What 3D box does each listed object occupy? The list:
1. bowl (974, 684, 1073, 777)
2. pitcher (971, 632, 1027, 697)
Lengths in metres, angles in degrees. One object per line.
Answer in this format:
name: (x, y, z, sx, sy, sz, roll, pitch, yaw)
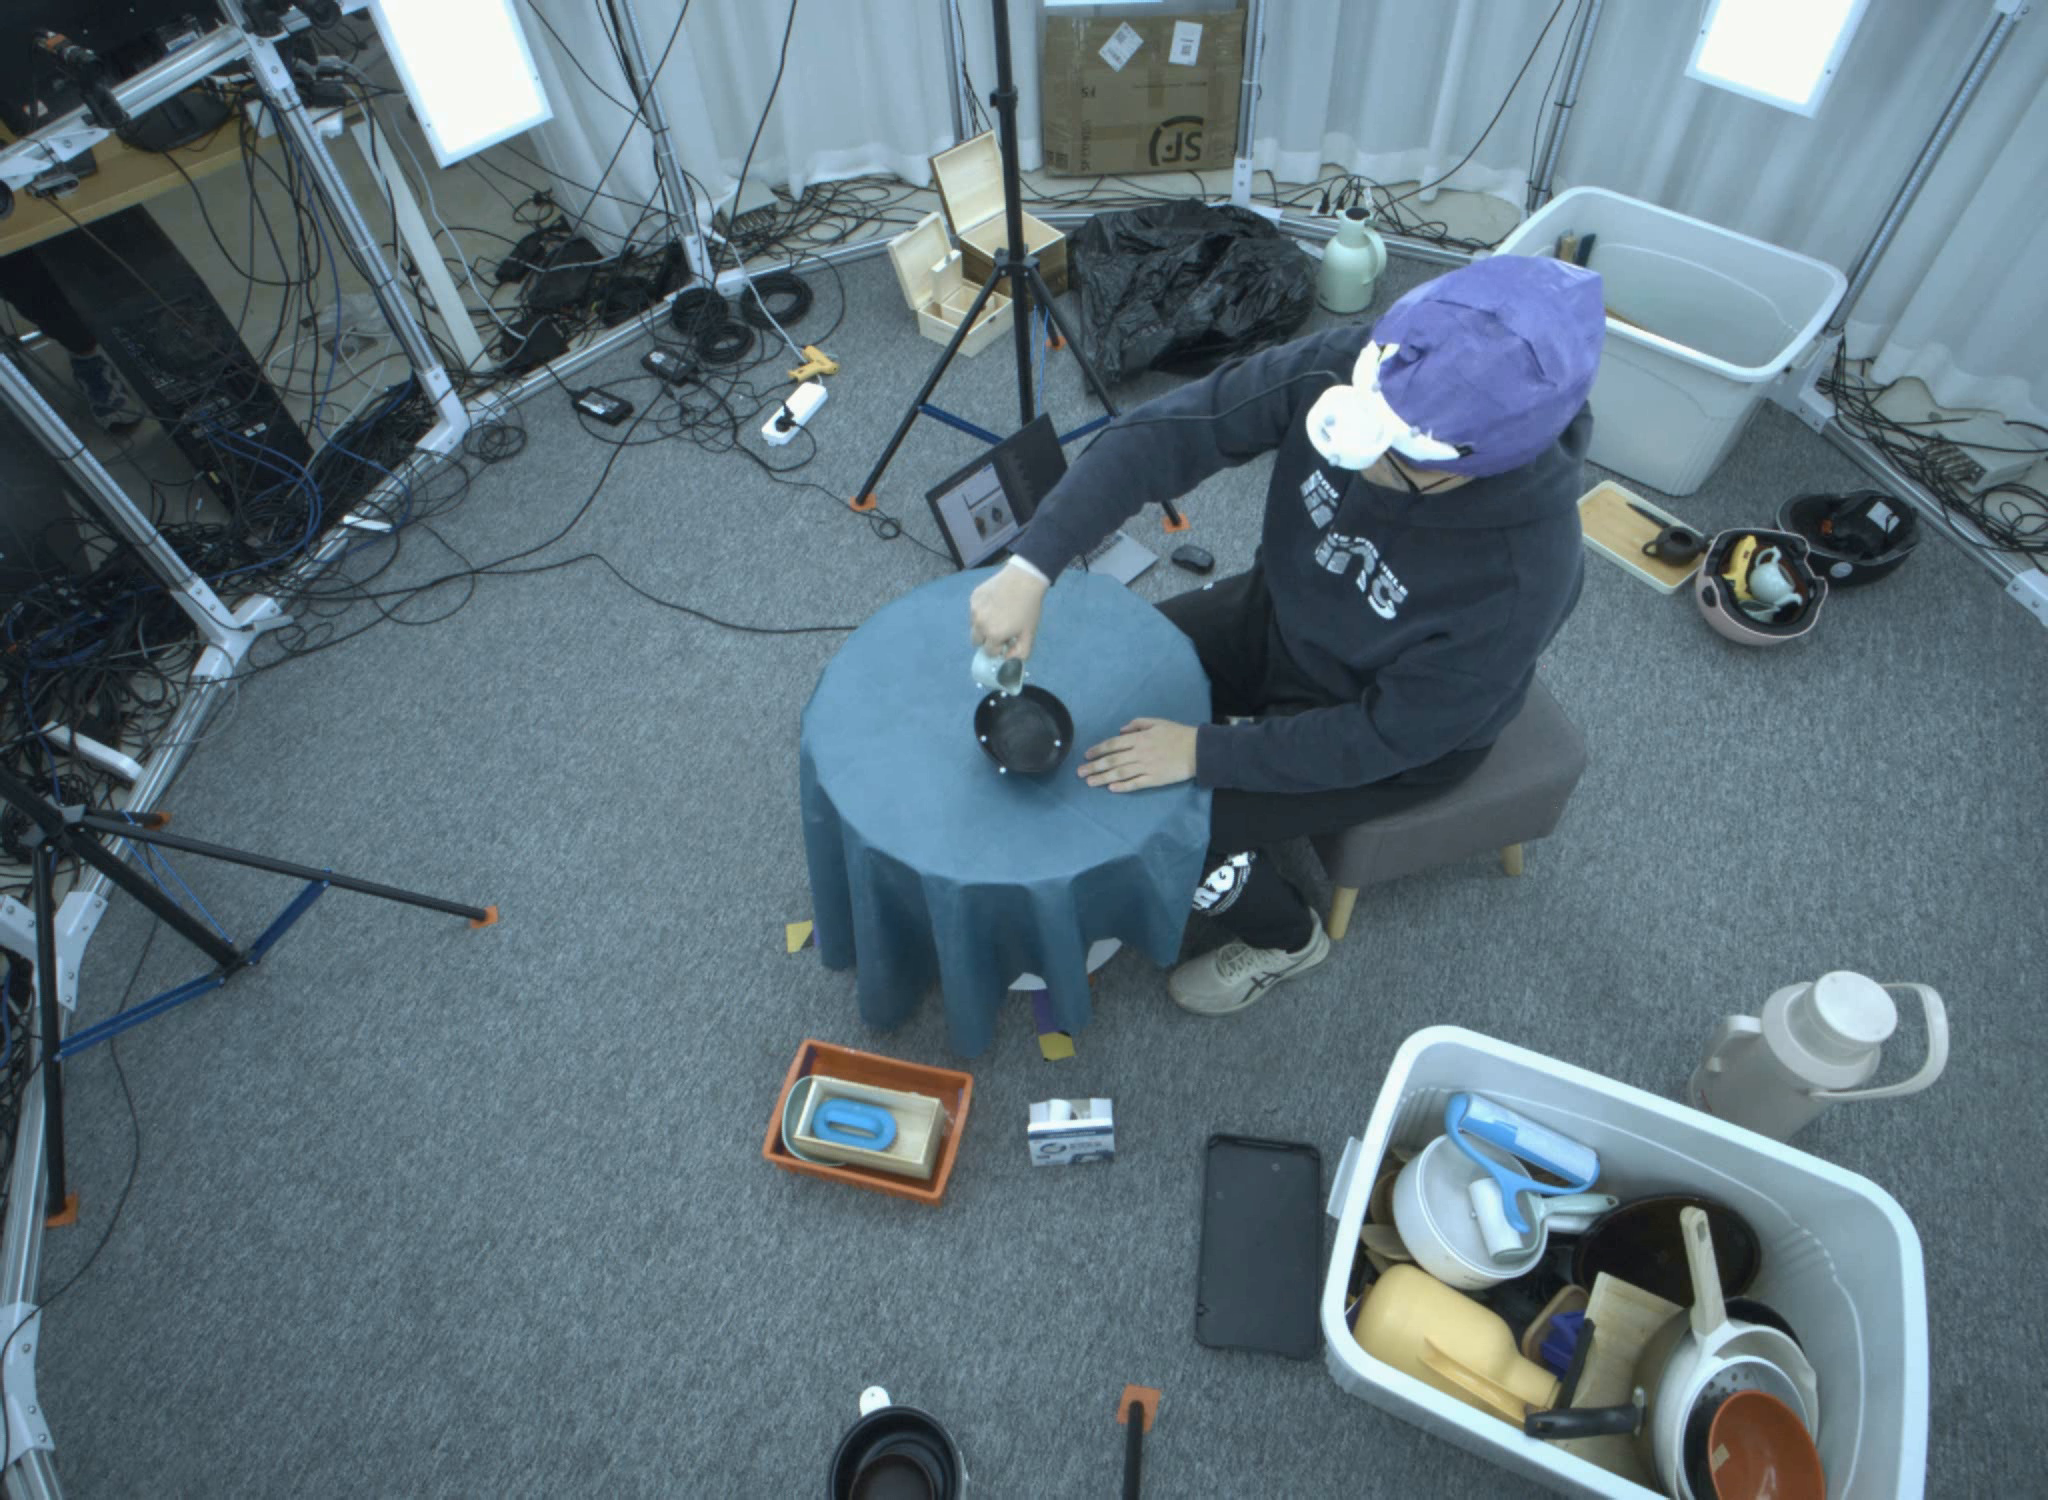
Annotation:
bowl: (-0.001, -0.020, 1.763, 0.138, 0.067, 0.167, -21, 56, -13)
pitcher: (-0.034, -0.124, 1.690, 0.086, 0.110, 0.059, -35, 52, -13)
